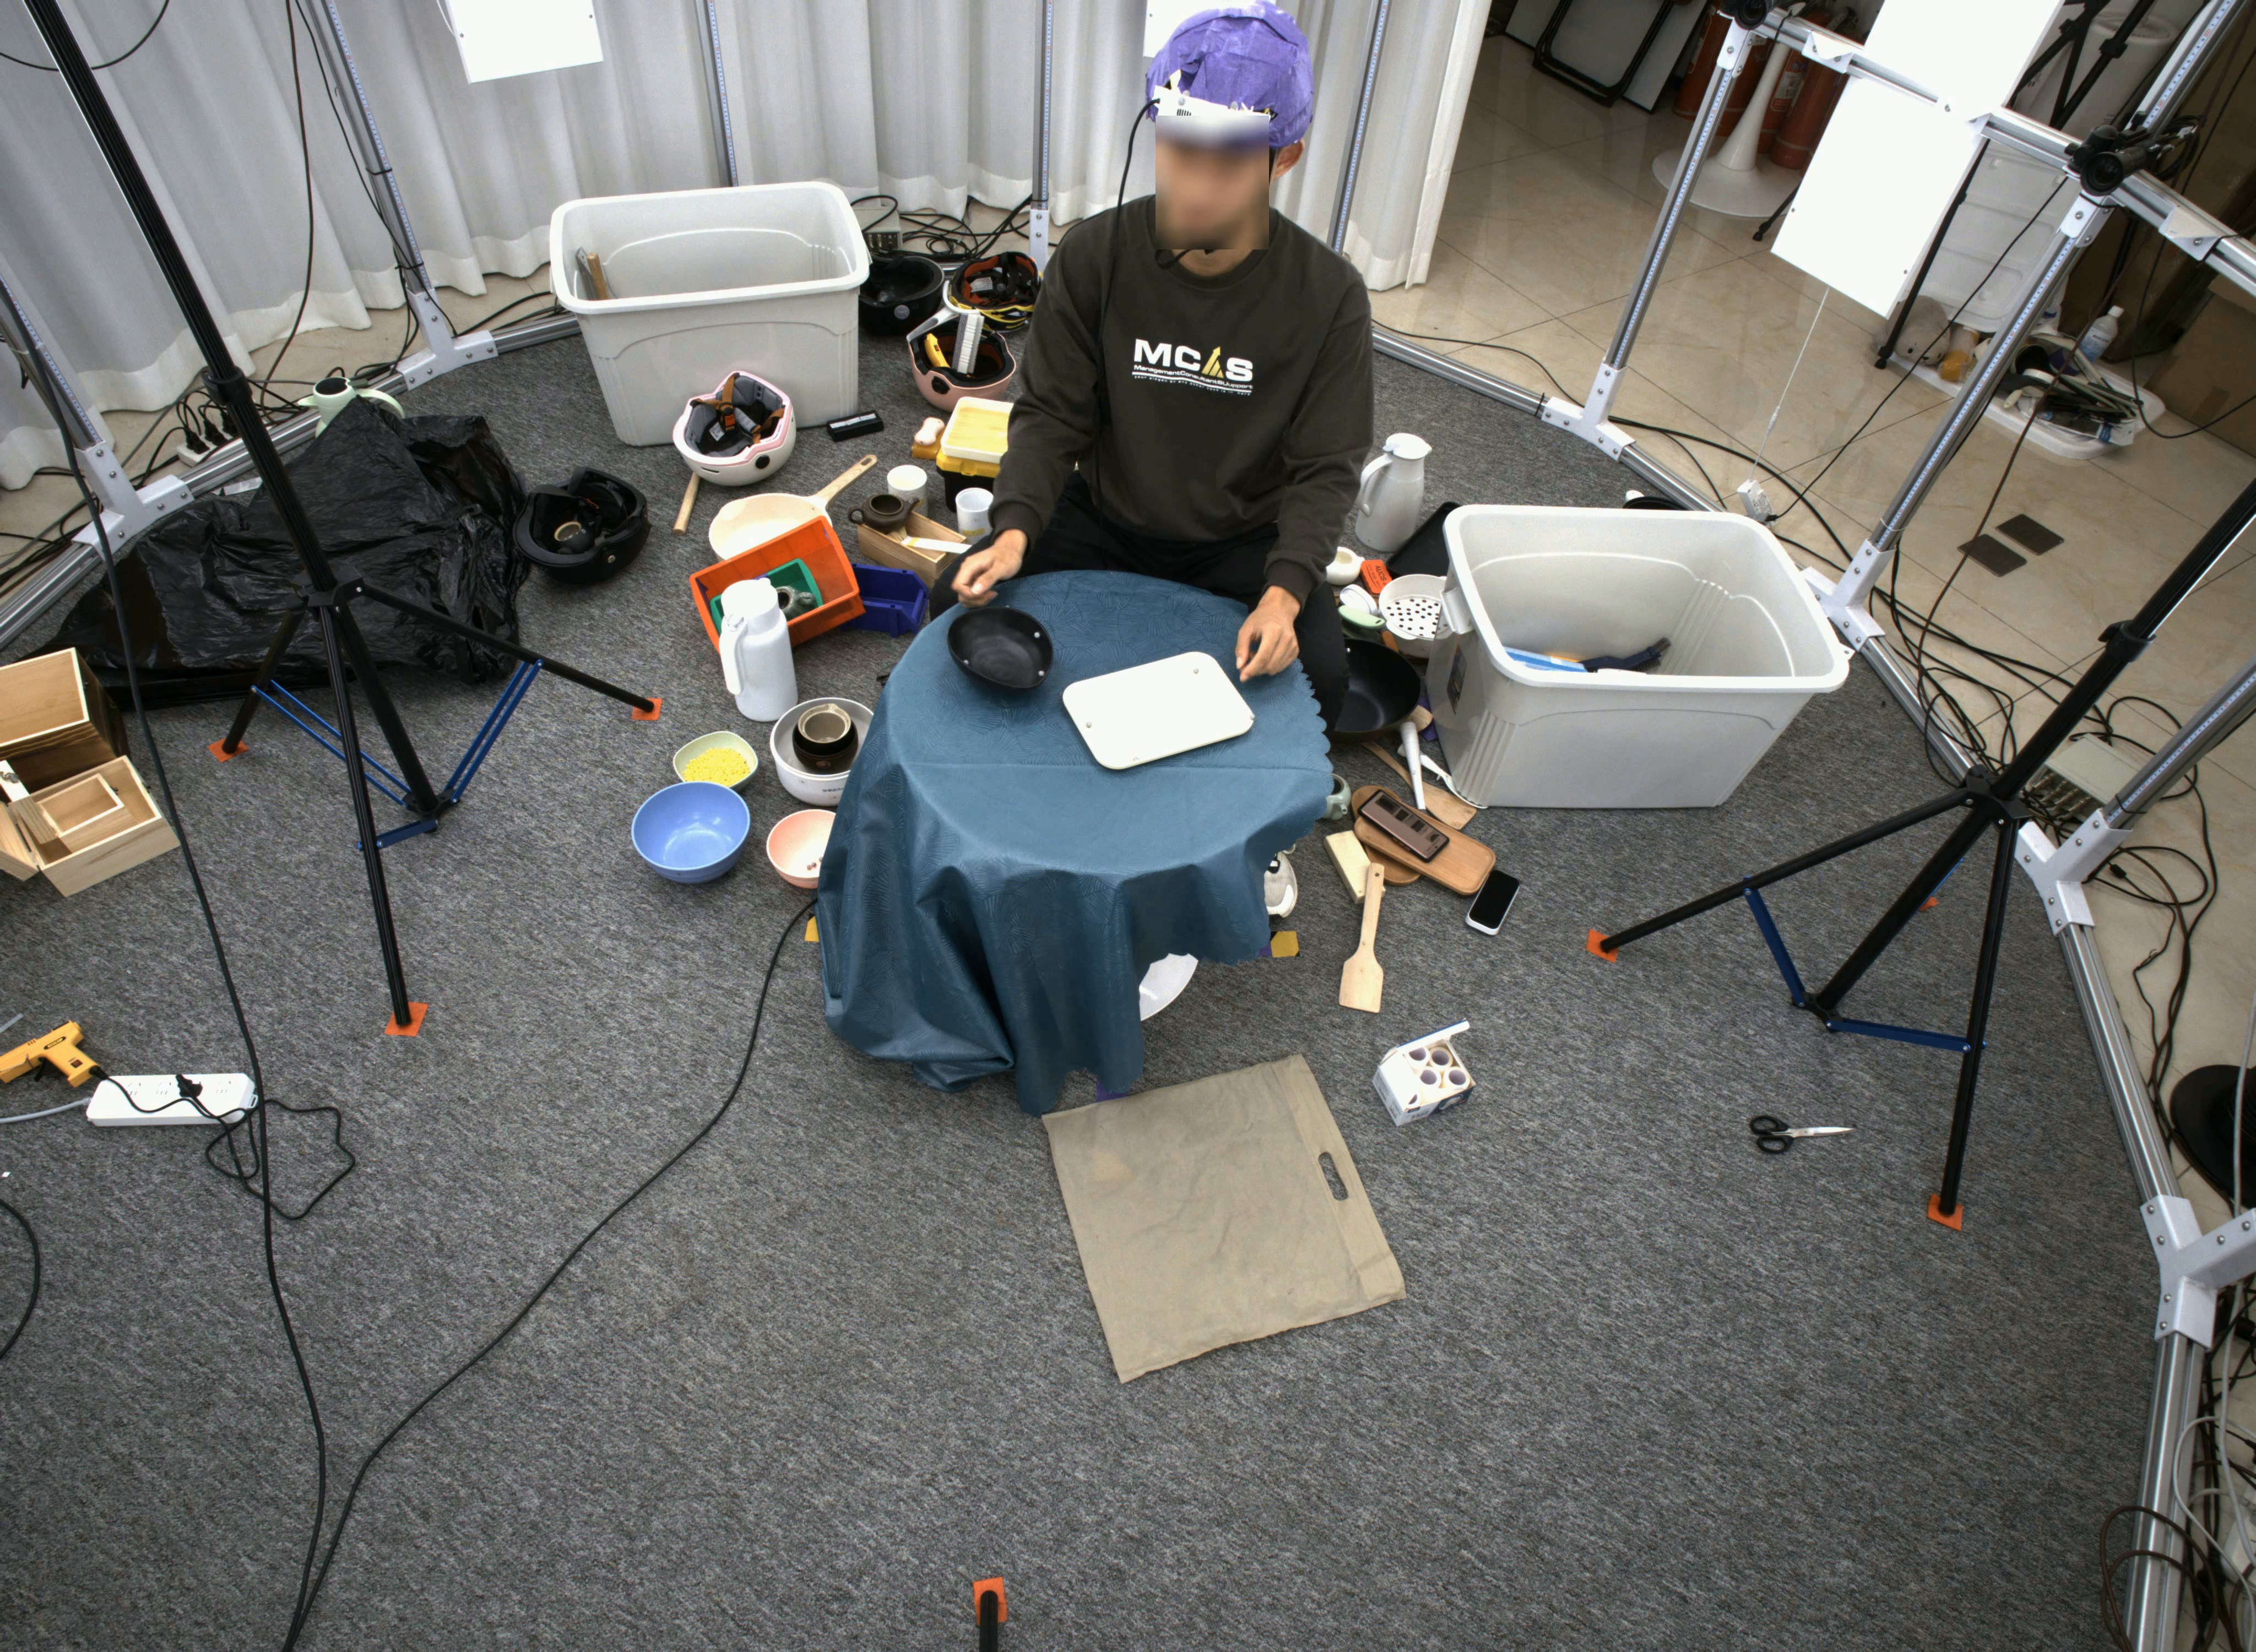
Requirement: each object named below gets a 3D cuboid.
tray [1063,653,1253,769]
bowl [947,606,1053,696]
[{"bbox_3d":[0.042,-0.162,1.797,0.240,0.017,0.175,-17,51,-18],"label":"tray"},{"bbox_3d":[-0.178,-0.238,1.818,0.138,0.065,0.173,-31,59,-26],"label":"bowl"}]
